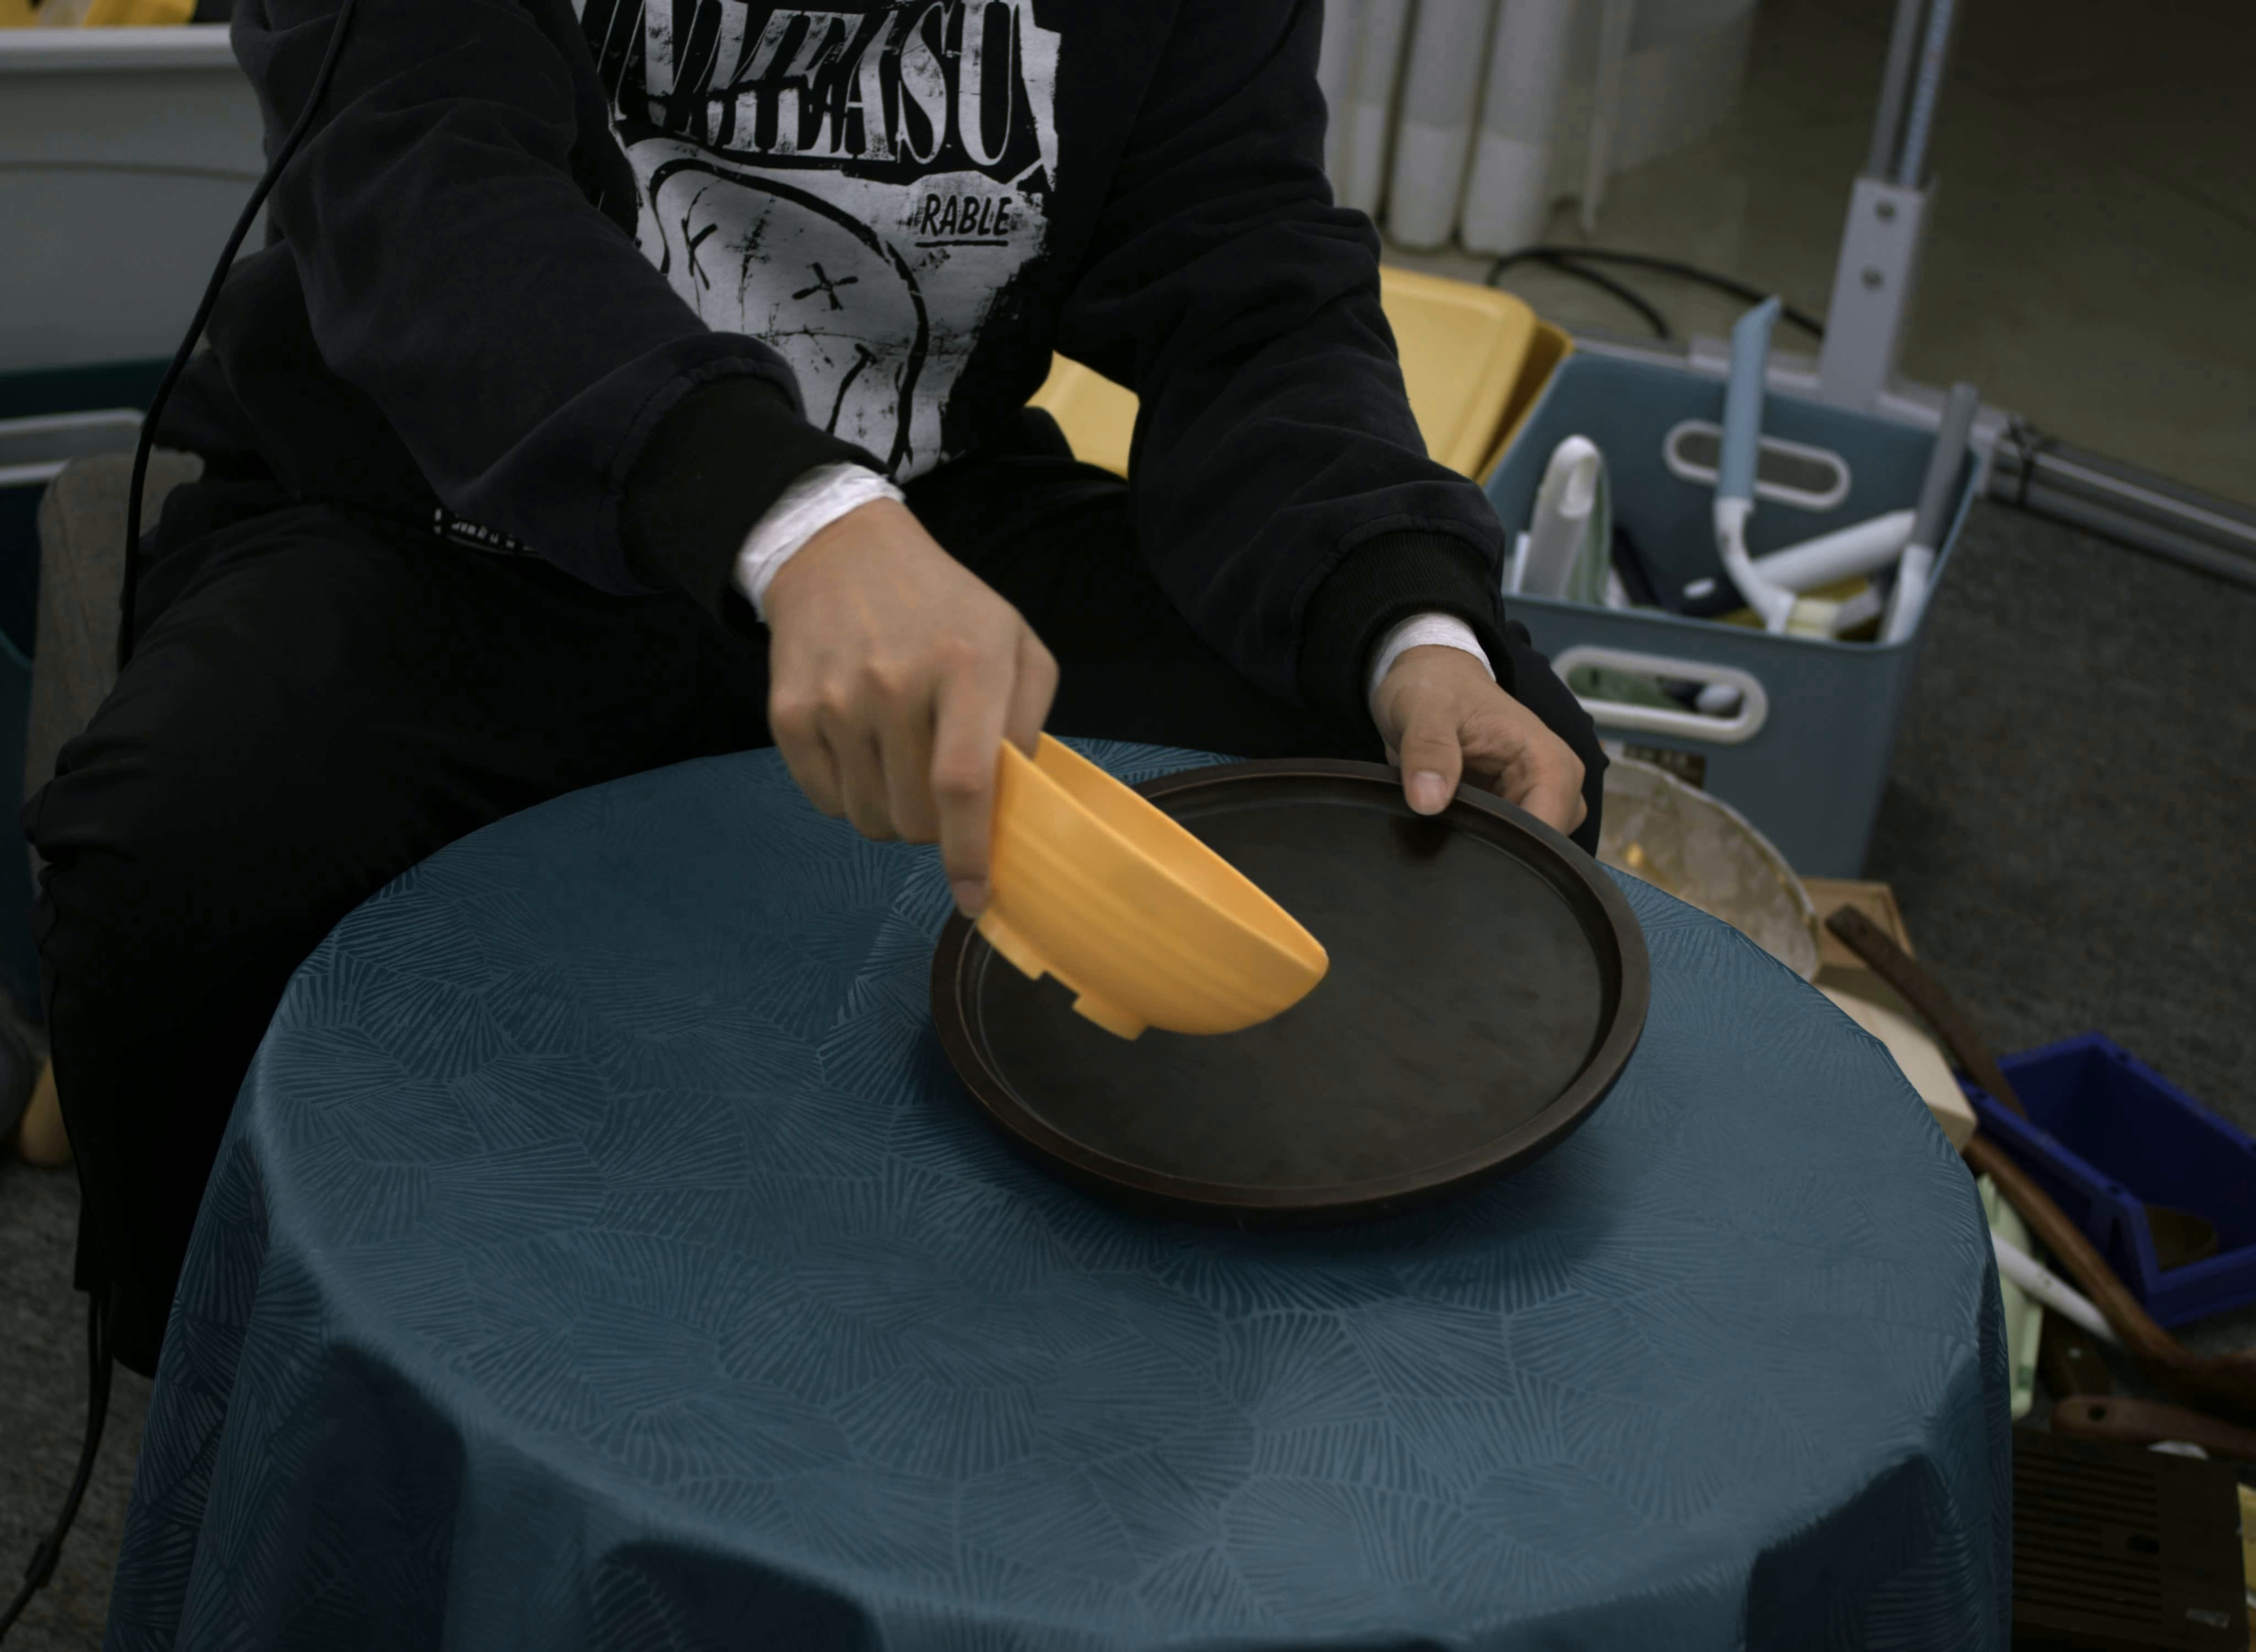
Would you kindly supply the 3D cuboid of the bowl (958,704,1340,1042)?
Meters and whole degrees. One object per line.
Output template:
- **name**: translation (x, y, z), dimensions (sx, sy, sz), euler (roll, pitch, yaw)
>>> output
- **bowl**: translation (-0.005, 0.027, 1.721), dimensions (0.145, 0.060, 0.145), euler (37, 3, -3)

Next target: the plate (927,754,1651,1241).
- **plate**: translation (0.056, 0.058, 1.864), dimensions (0.254, 0.029, 0.257), euler (-4, 37, 2)
